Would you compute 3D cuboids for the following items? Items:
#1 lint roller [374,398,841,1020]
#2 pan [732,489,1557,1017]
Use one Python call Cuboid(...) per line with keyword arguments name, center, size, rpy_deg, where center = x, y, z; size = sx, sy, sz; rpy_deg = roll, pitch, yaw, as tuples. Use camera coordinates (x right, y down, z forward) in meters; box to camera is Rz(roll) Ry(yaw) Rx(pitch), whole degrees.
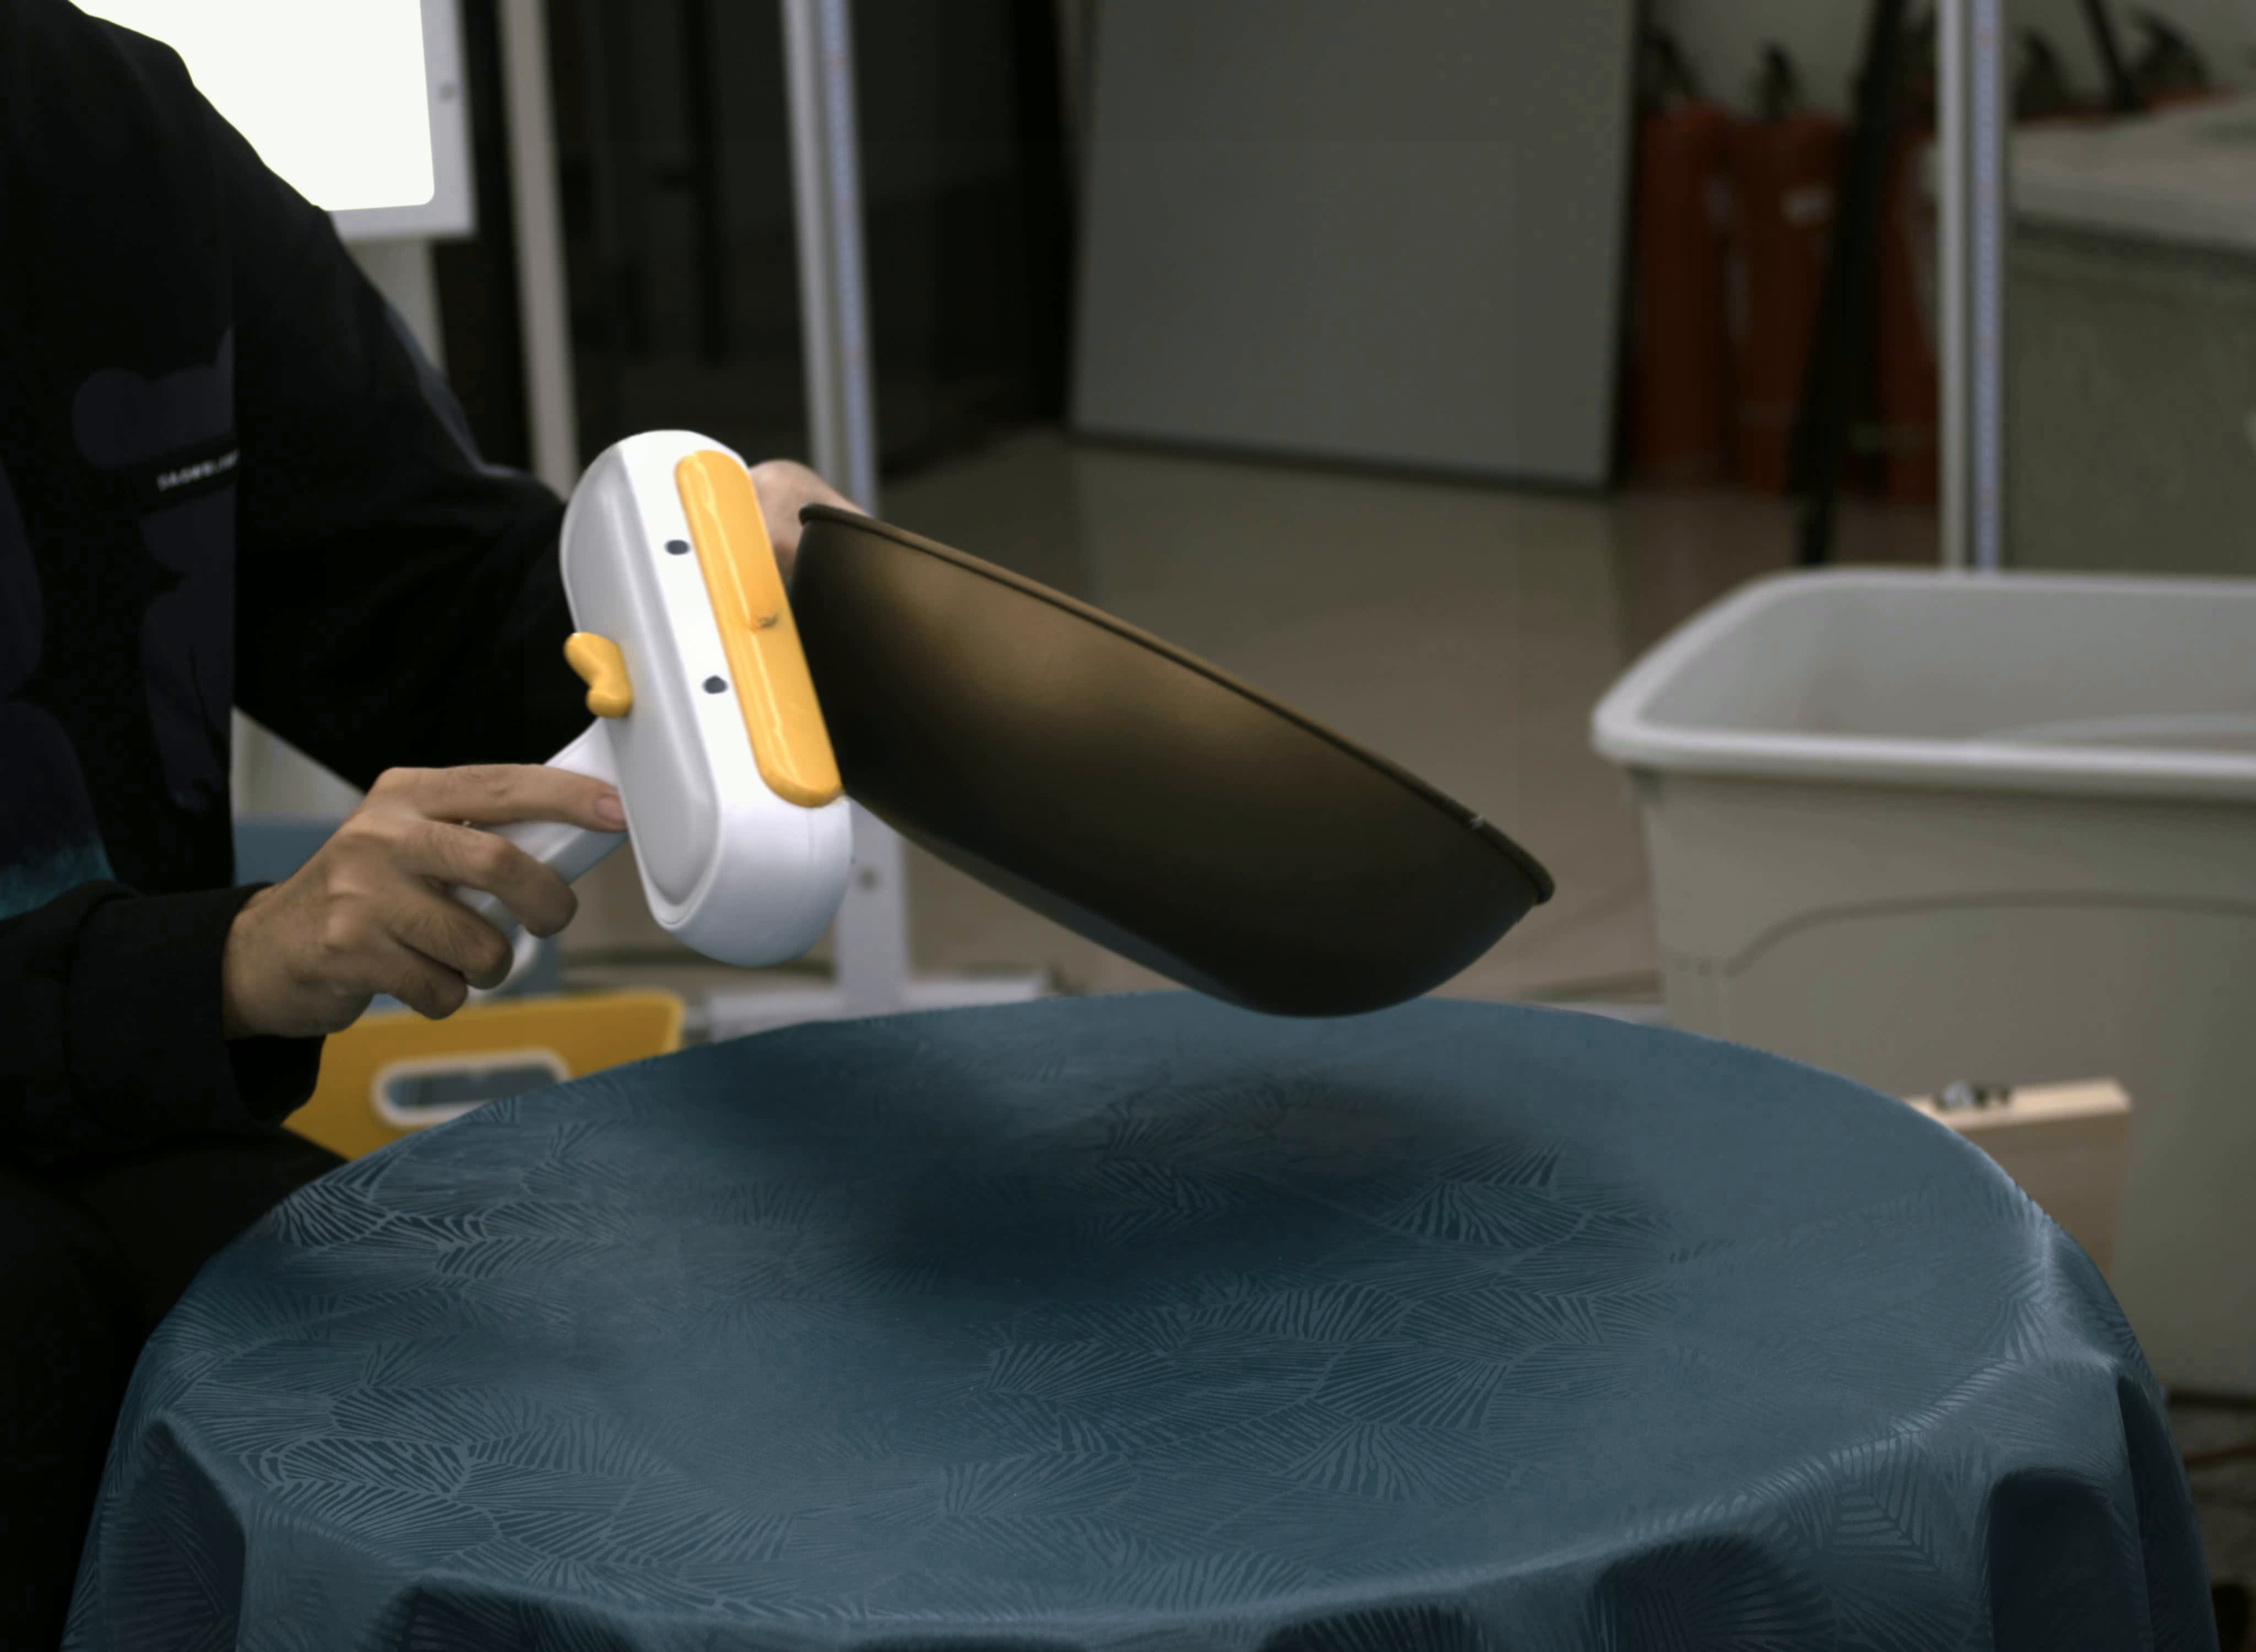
Cuboid(name="lint roller", center=(-0.172, -0.011, 1.709), size=(0.072, 0.194, 0.195), rpy_deg=(9, 42, -37))
Cuboid(name="pan", center=(-0.059, -0.031, 1.836), size=(0.283, 0.087, 0.468), rpy_deg=(32, -8, -42))
